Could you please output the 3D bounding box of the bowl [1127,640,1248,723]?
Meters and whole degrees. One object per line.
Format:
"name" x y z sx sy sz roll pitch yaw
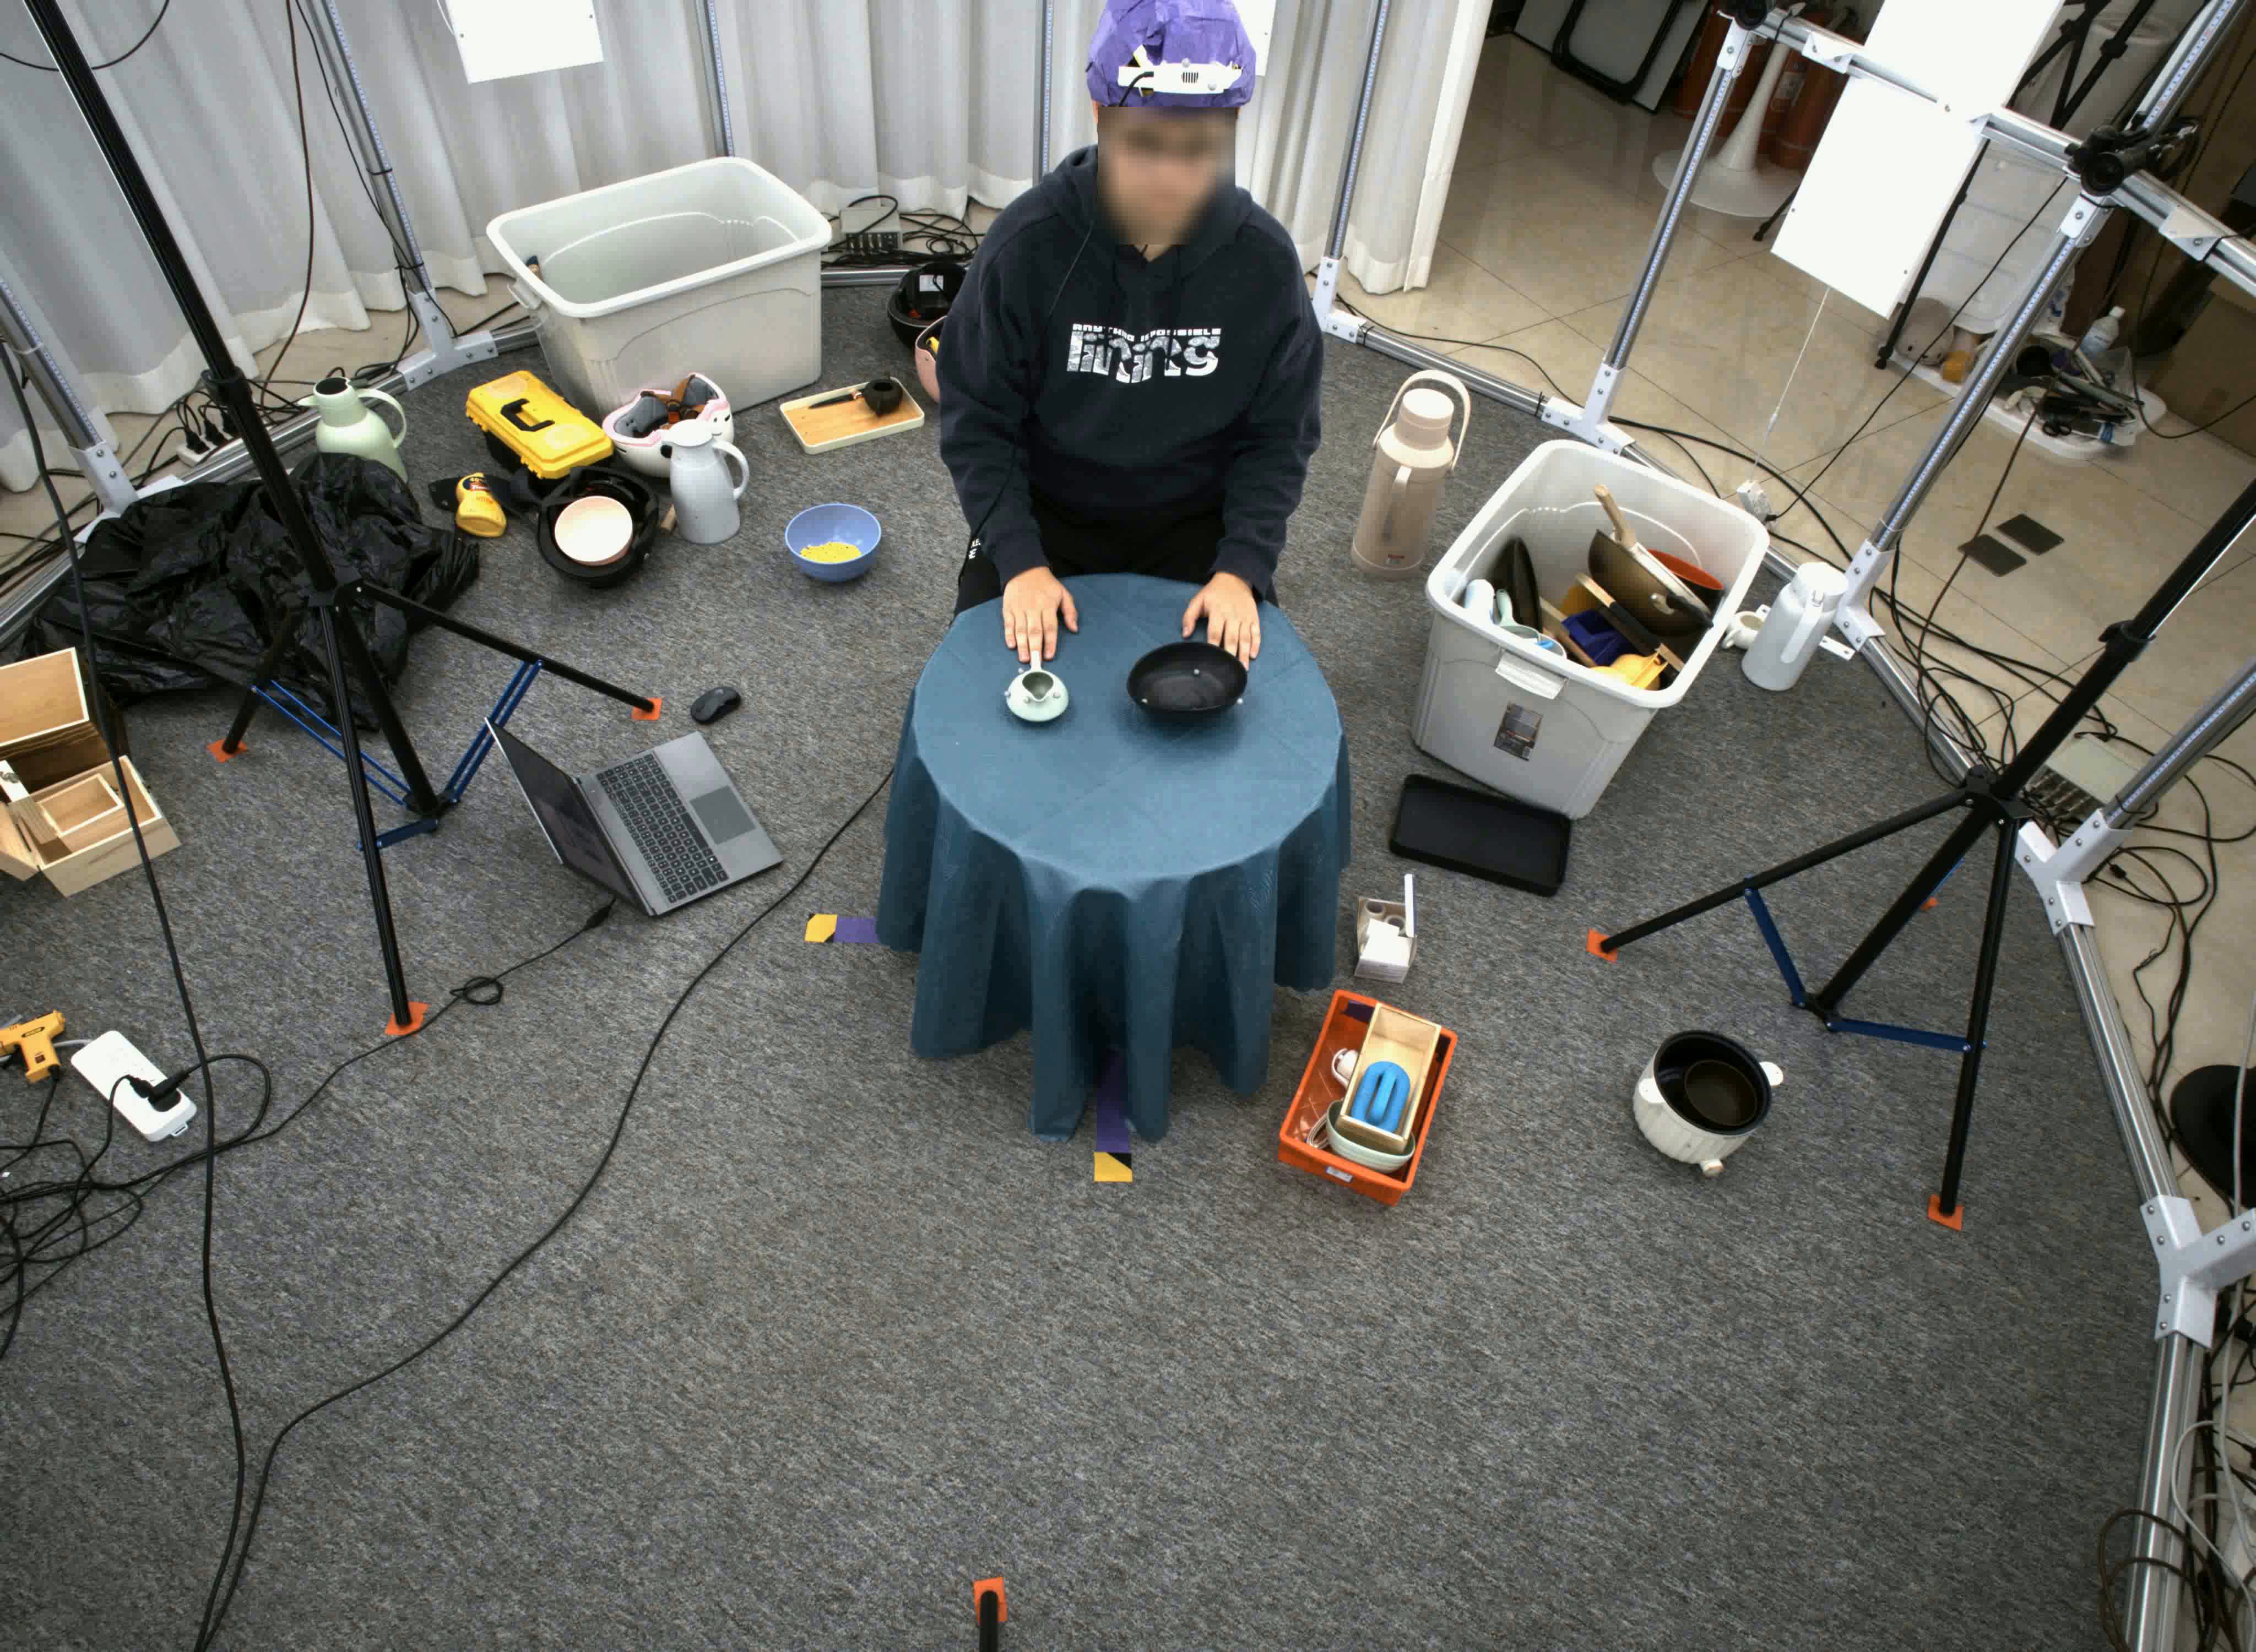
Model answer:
"bowl" 0.083 -0.189 1.795 0.170 0.065 0.141 -10 50 -11

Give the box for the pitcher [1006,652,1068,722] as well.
"pitcher" -0.127 -0.191 1.786 0.086 0.059 0.111 -2 47 -8
